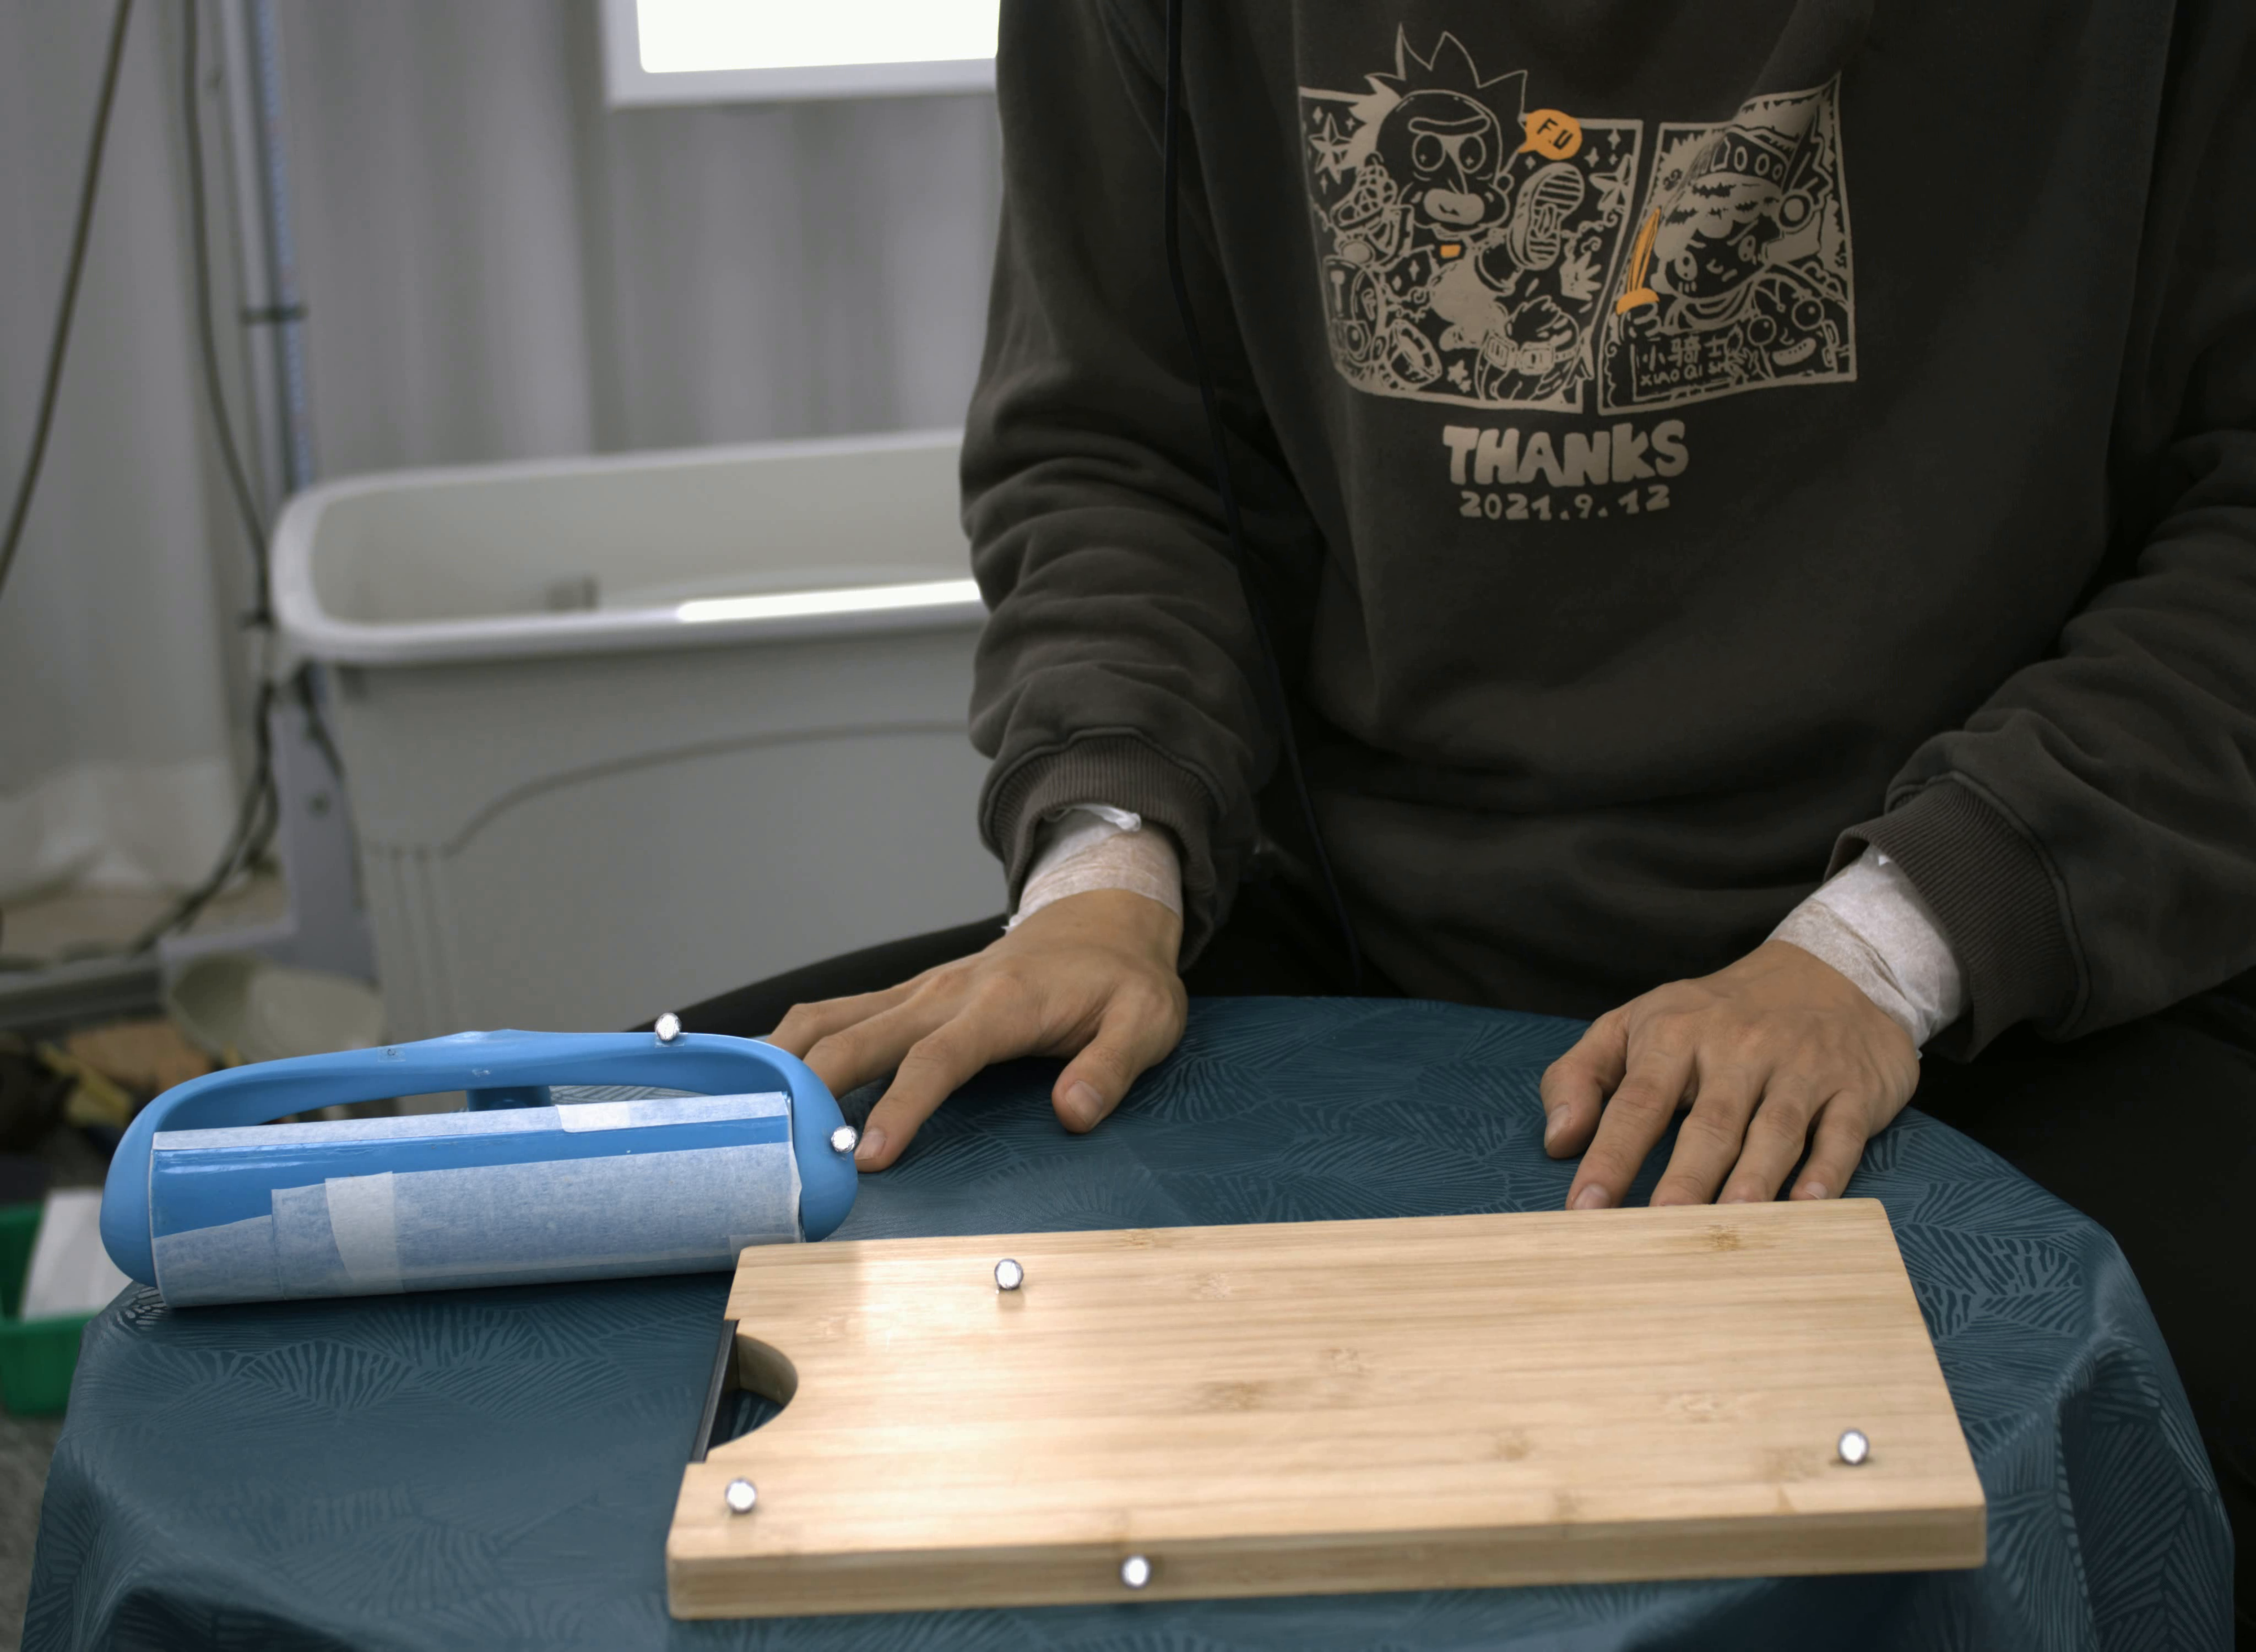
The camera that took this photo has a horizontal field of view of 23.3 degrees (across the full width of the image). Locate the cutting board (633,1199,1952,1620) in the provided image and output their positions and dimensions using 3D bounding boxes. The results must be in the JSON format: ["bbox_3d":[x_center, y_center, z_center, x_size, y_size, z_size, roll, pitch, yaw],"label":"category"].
[{"bbox_3d":[0.046,0.159,1.517,0.347,0.023,0.252,-3,15,1],"label":"cutting board"}]

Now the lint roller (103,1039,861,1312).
[{"bbox_3d":[-0.203,0.098,1.716,0.228,0.067,0.181,-5,15,-6],"label":"lint roller"}]
